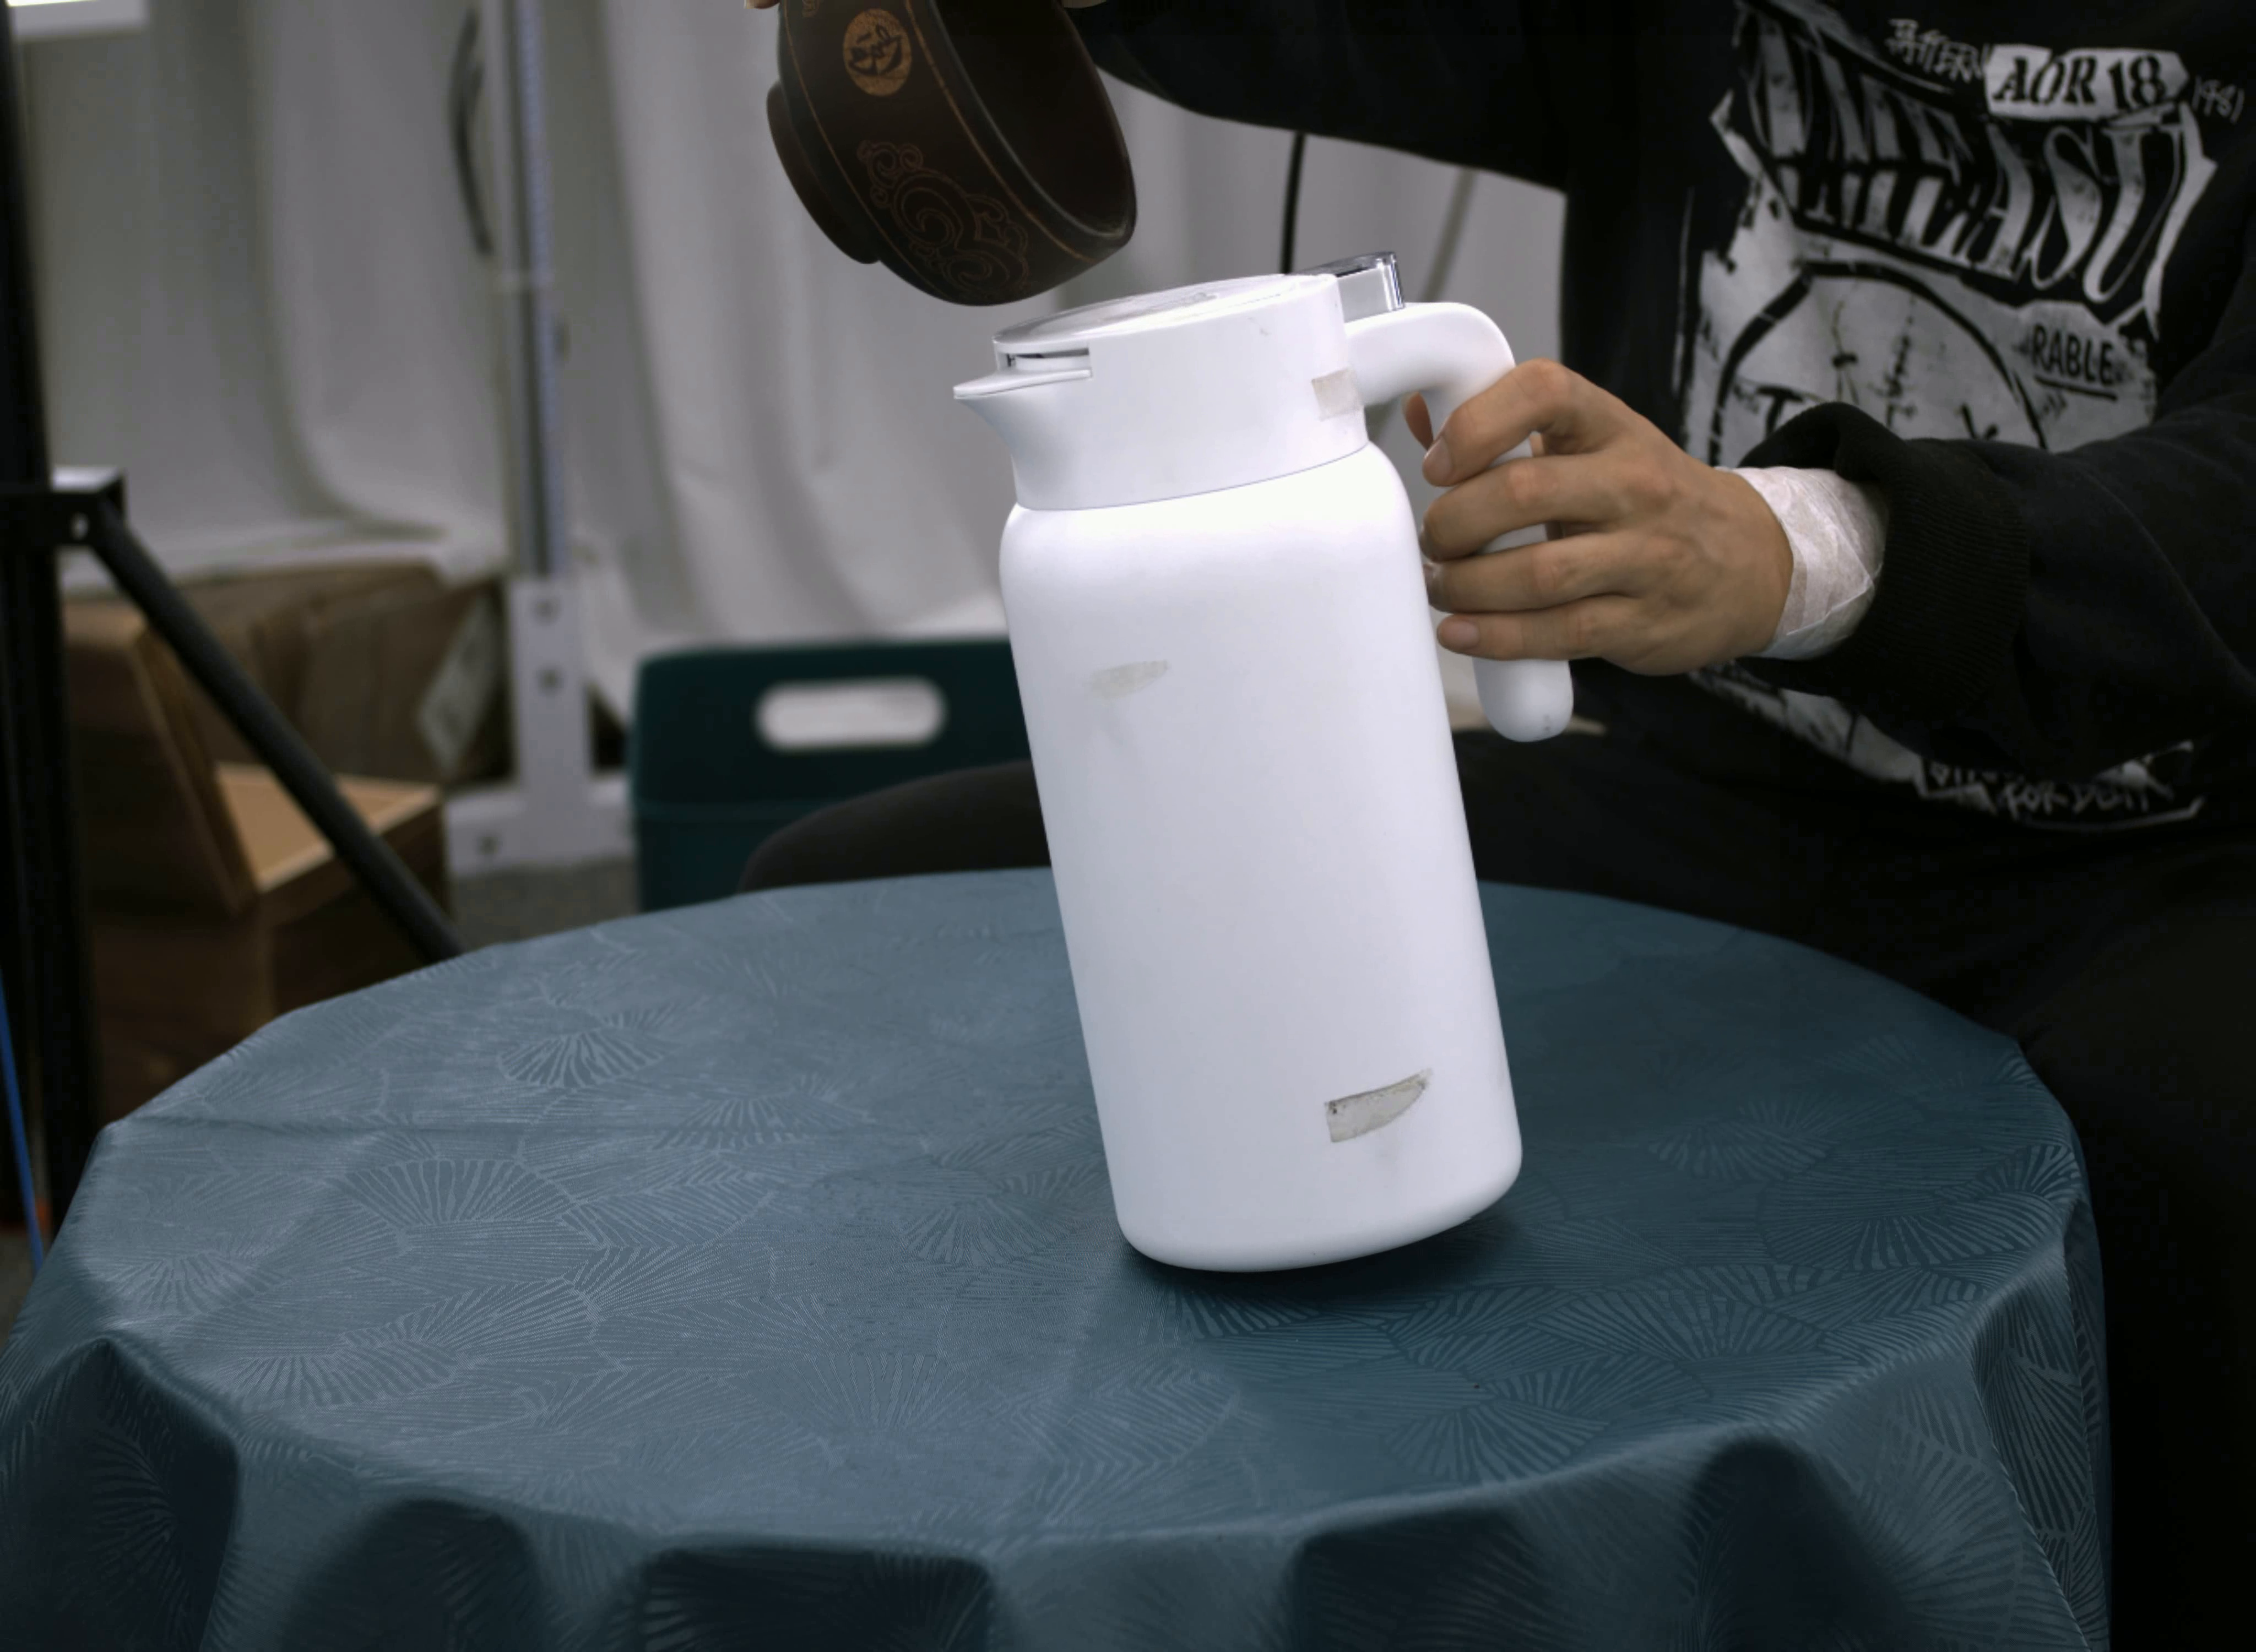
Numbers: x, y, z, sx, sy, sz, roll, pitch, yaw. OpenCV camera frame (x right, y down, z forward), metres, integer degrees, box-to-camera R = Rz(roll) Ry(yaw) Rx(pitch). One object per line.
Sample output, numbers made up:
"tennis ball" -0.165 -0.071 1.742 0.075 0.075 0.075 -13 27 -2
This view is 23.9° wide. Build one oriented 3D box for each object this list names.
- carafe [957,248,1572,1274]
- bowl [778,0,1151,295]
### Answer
"carafe" 0.048 -0.021 1.491 0.169 0.269 0.126 -16 9 -28
"bowl" -0.053 -0.199 1.476 0.070 0.118 0.117 -27 7 20
